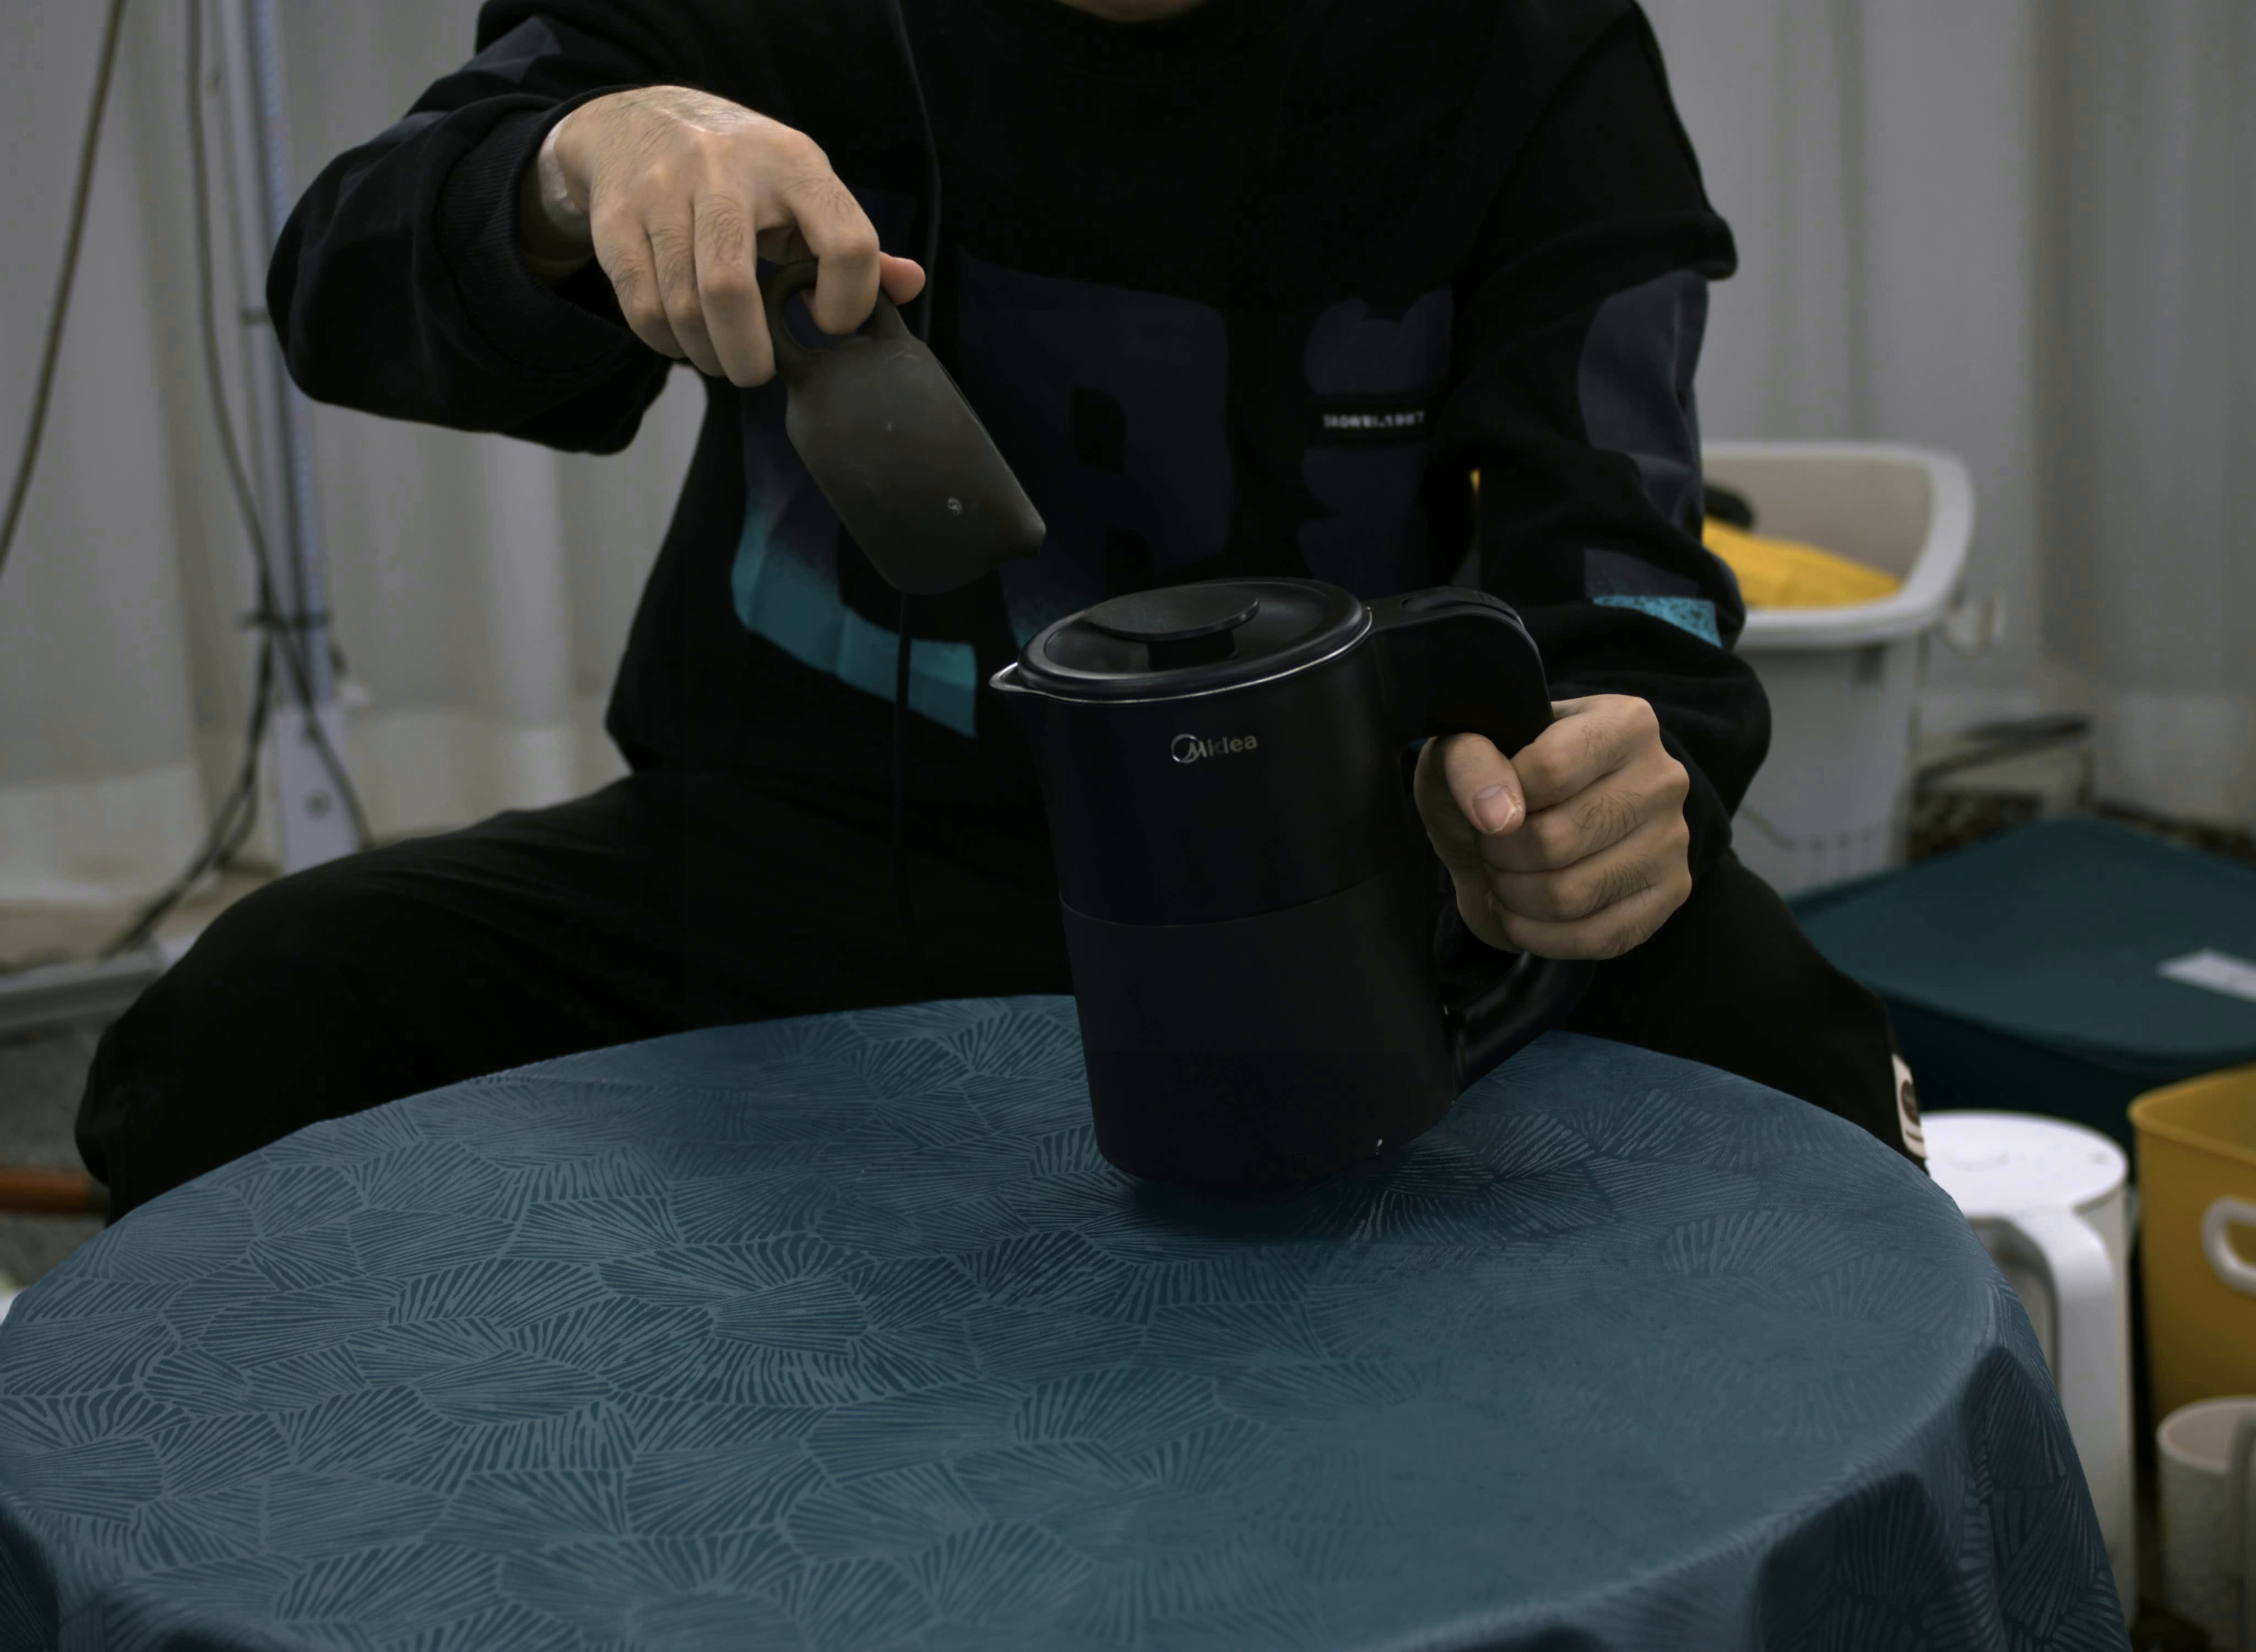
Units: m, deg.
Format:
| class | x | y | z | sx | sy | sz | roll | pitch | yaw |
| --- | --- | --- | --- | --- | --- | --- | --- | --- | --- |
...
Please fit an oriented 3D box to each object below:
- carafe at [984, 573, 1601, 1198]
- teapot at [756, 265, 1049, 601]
| class | x | y | z | sx | sy | sz | roll | pitch | yaw |
| --- | --- | --- | --- | --- | --- | --- | --- | --- | --- |
| carafe | 0.054 | 0.007 | 1.680 | 0.171 | 0.172 | 0.115 | -13 | 15 | -3 |
| teapot | -0.072 | -0.118 | 1.653 | 0.053 | 0.114 | 0.083 | -31 | 0 | 1 |
